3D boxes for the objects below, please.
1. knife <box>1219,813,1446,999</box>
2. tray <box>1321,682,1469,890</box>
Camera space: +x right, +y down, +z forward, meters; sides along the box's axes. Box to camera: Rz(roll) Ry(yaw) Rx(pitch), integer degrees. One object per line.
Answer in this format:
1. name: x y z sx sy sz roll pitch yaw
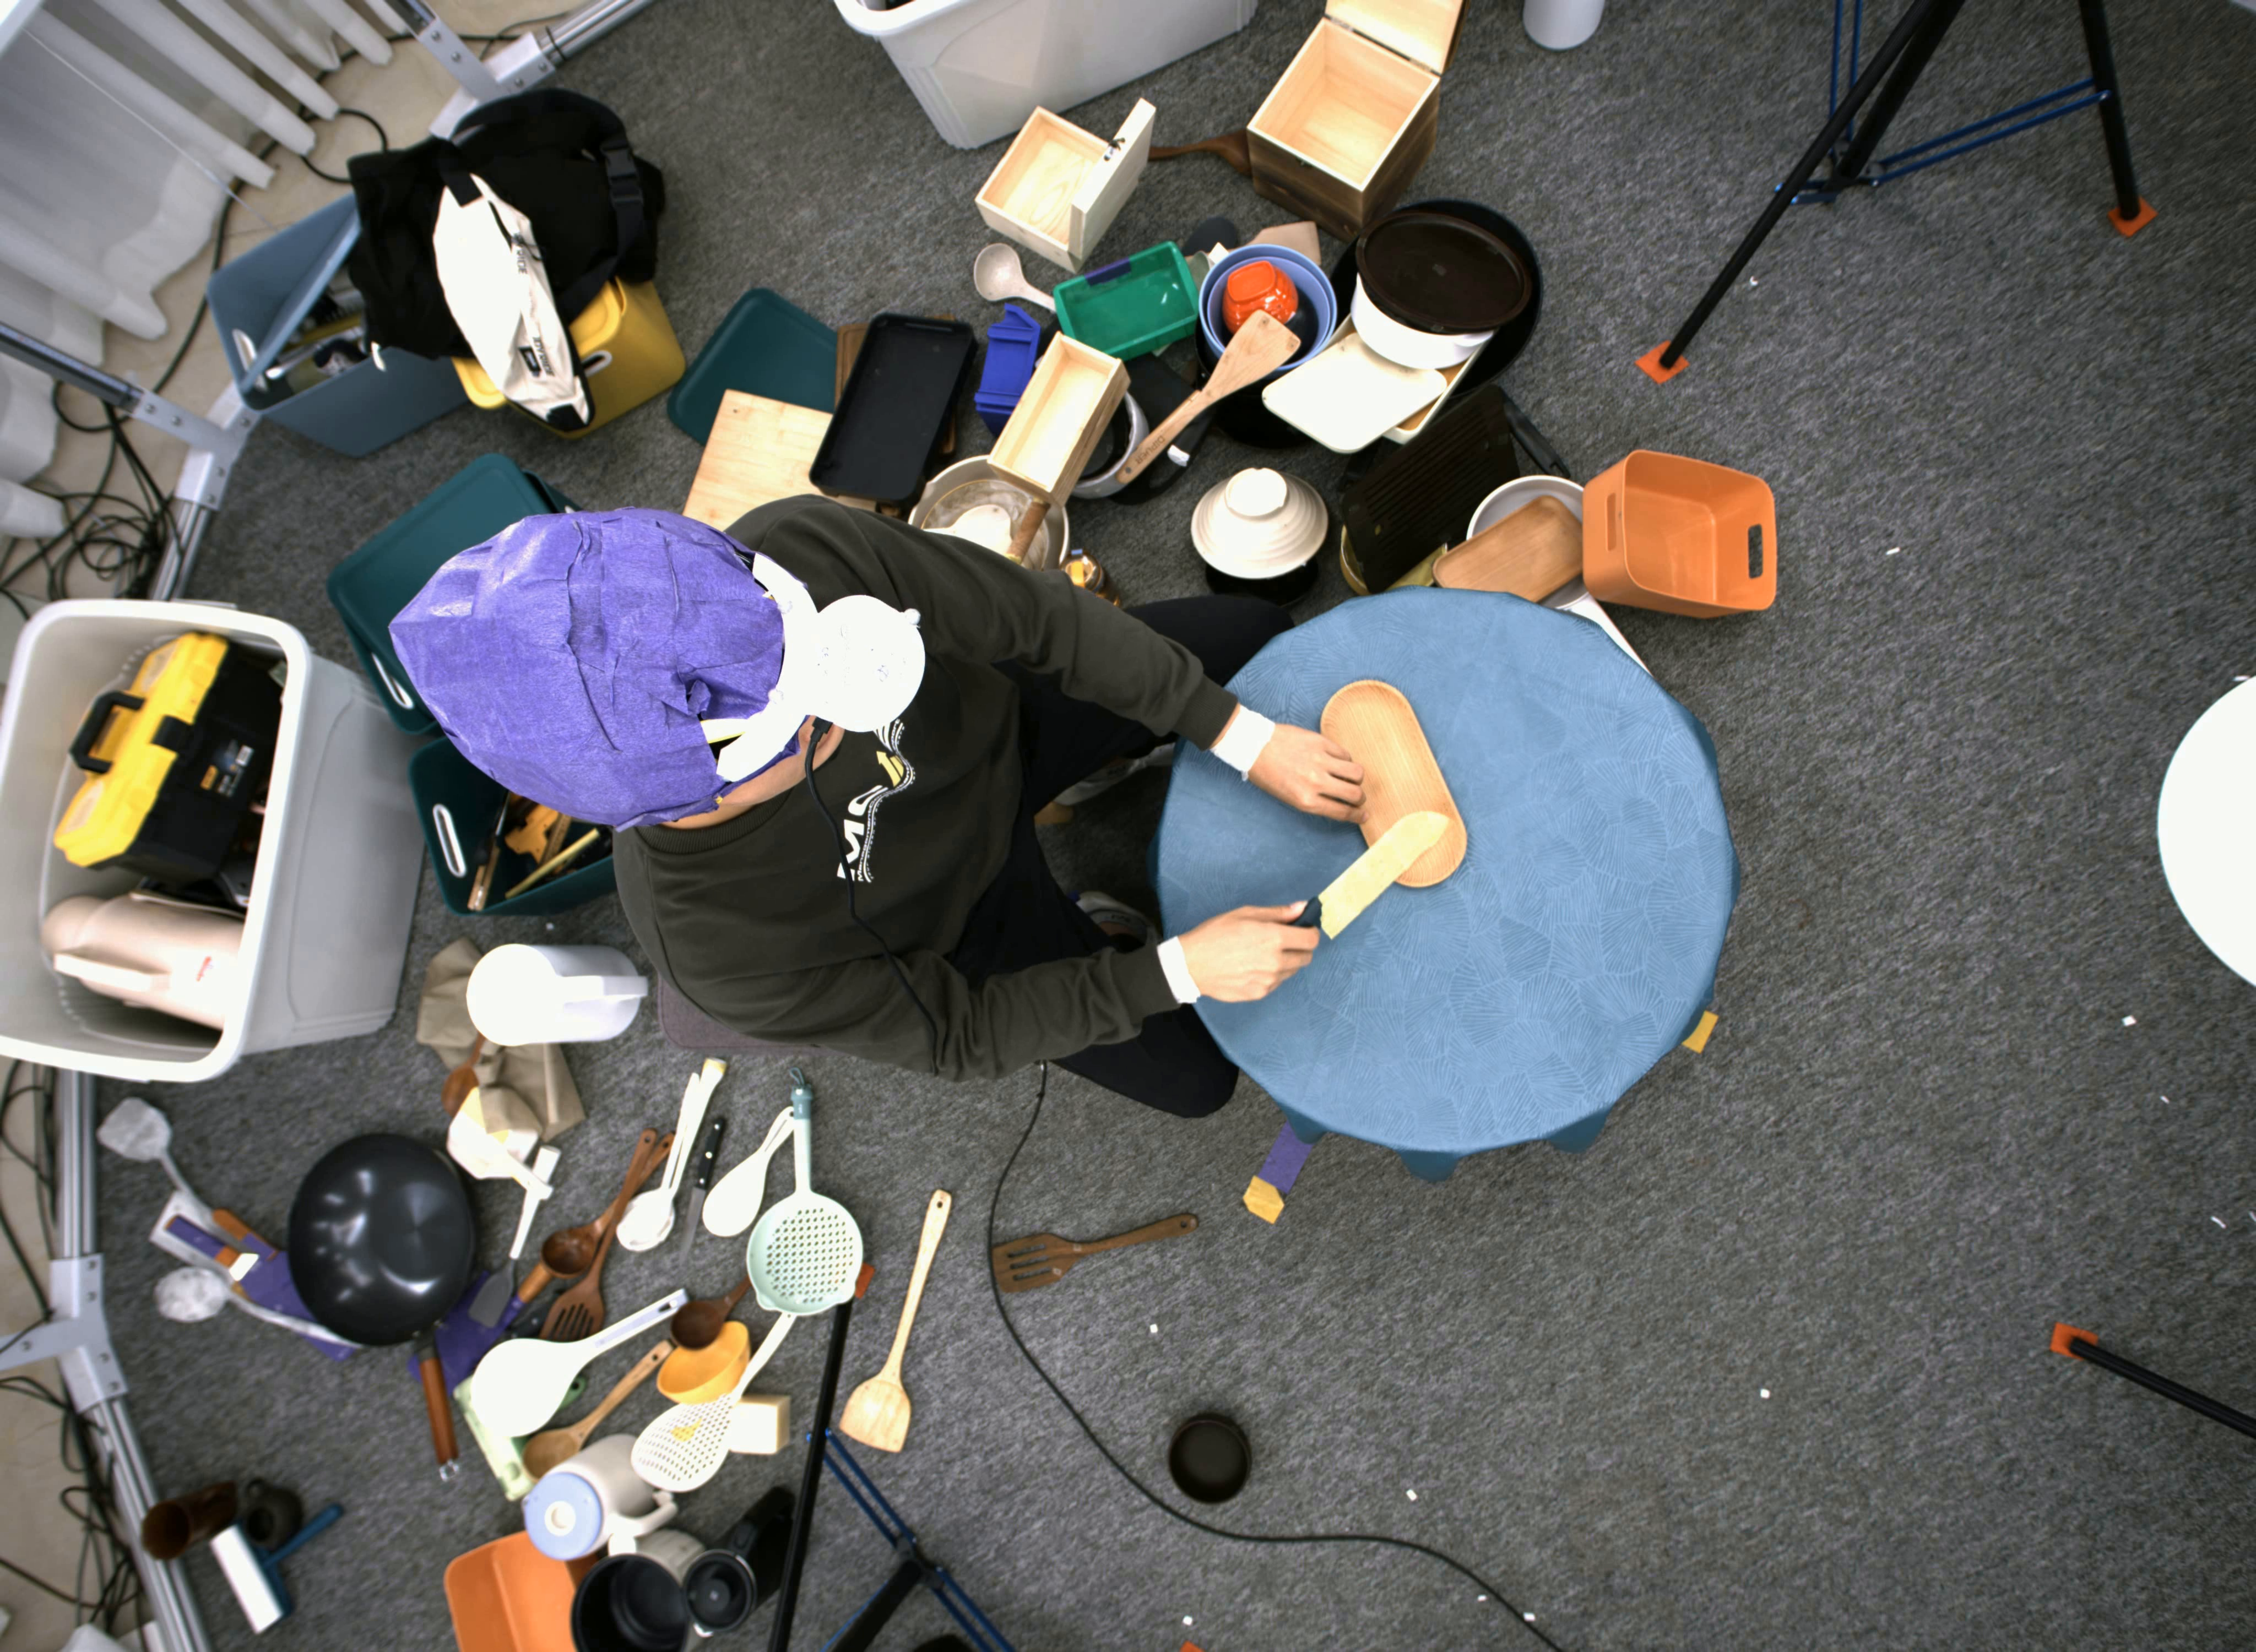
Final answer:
1. knife: 0.209 0.081 1.392 0.290 0.082 0.027 -39 46 1
2. tray: 0.282 -0.044 1.456 0.102 0.020 0.230 -24 84 10
